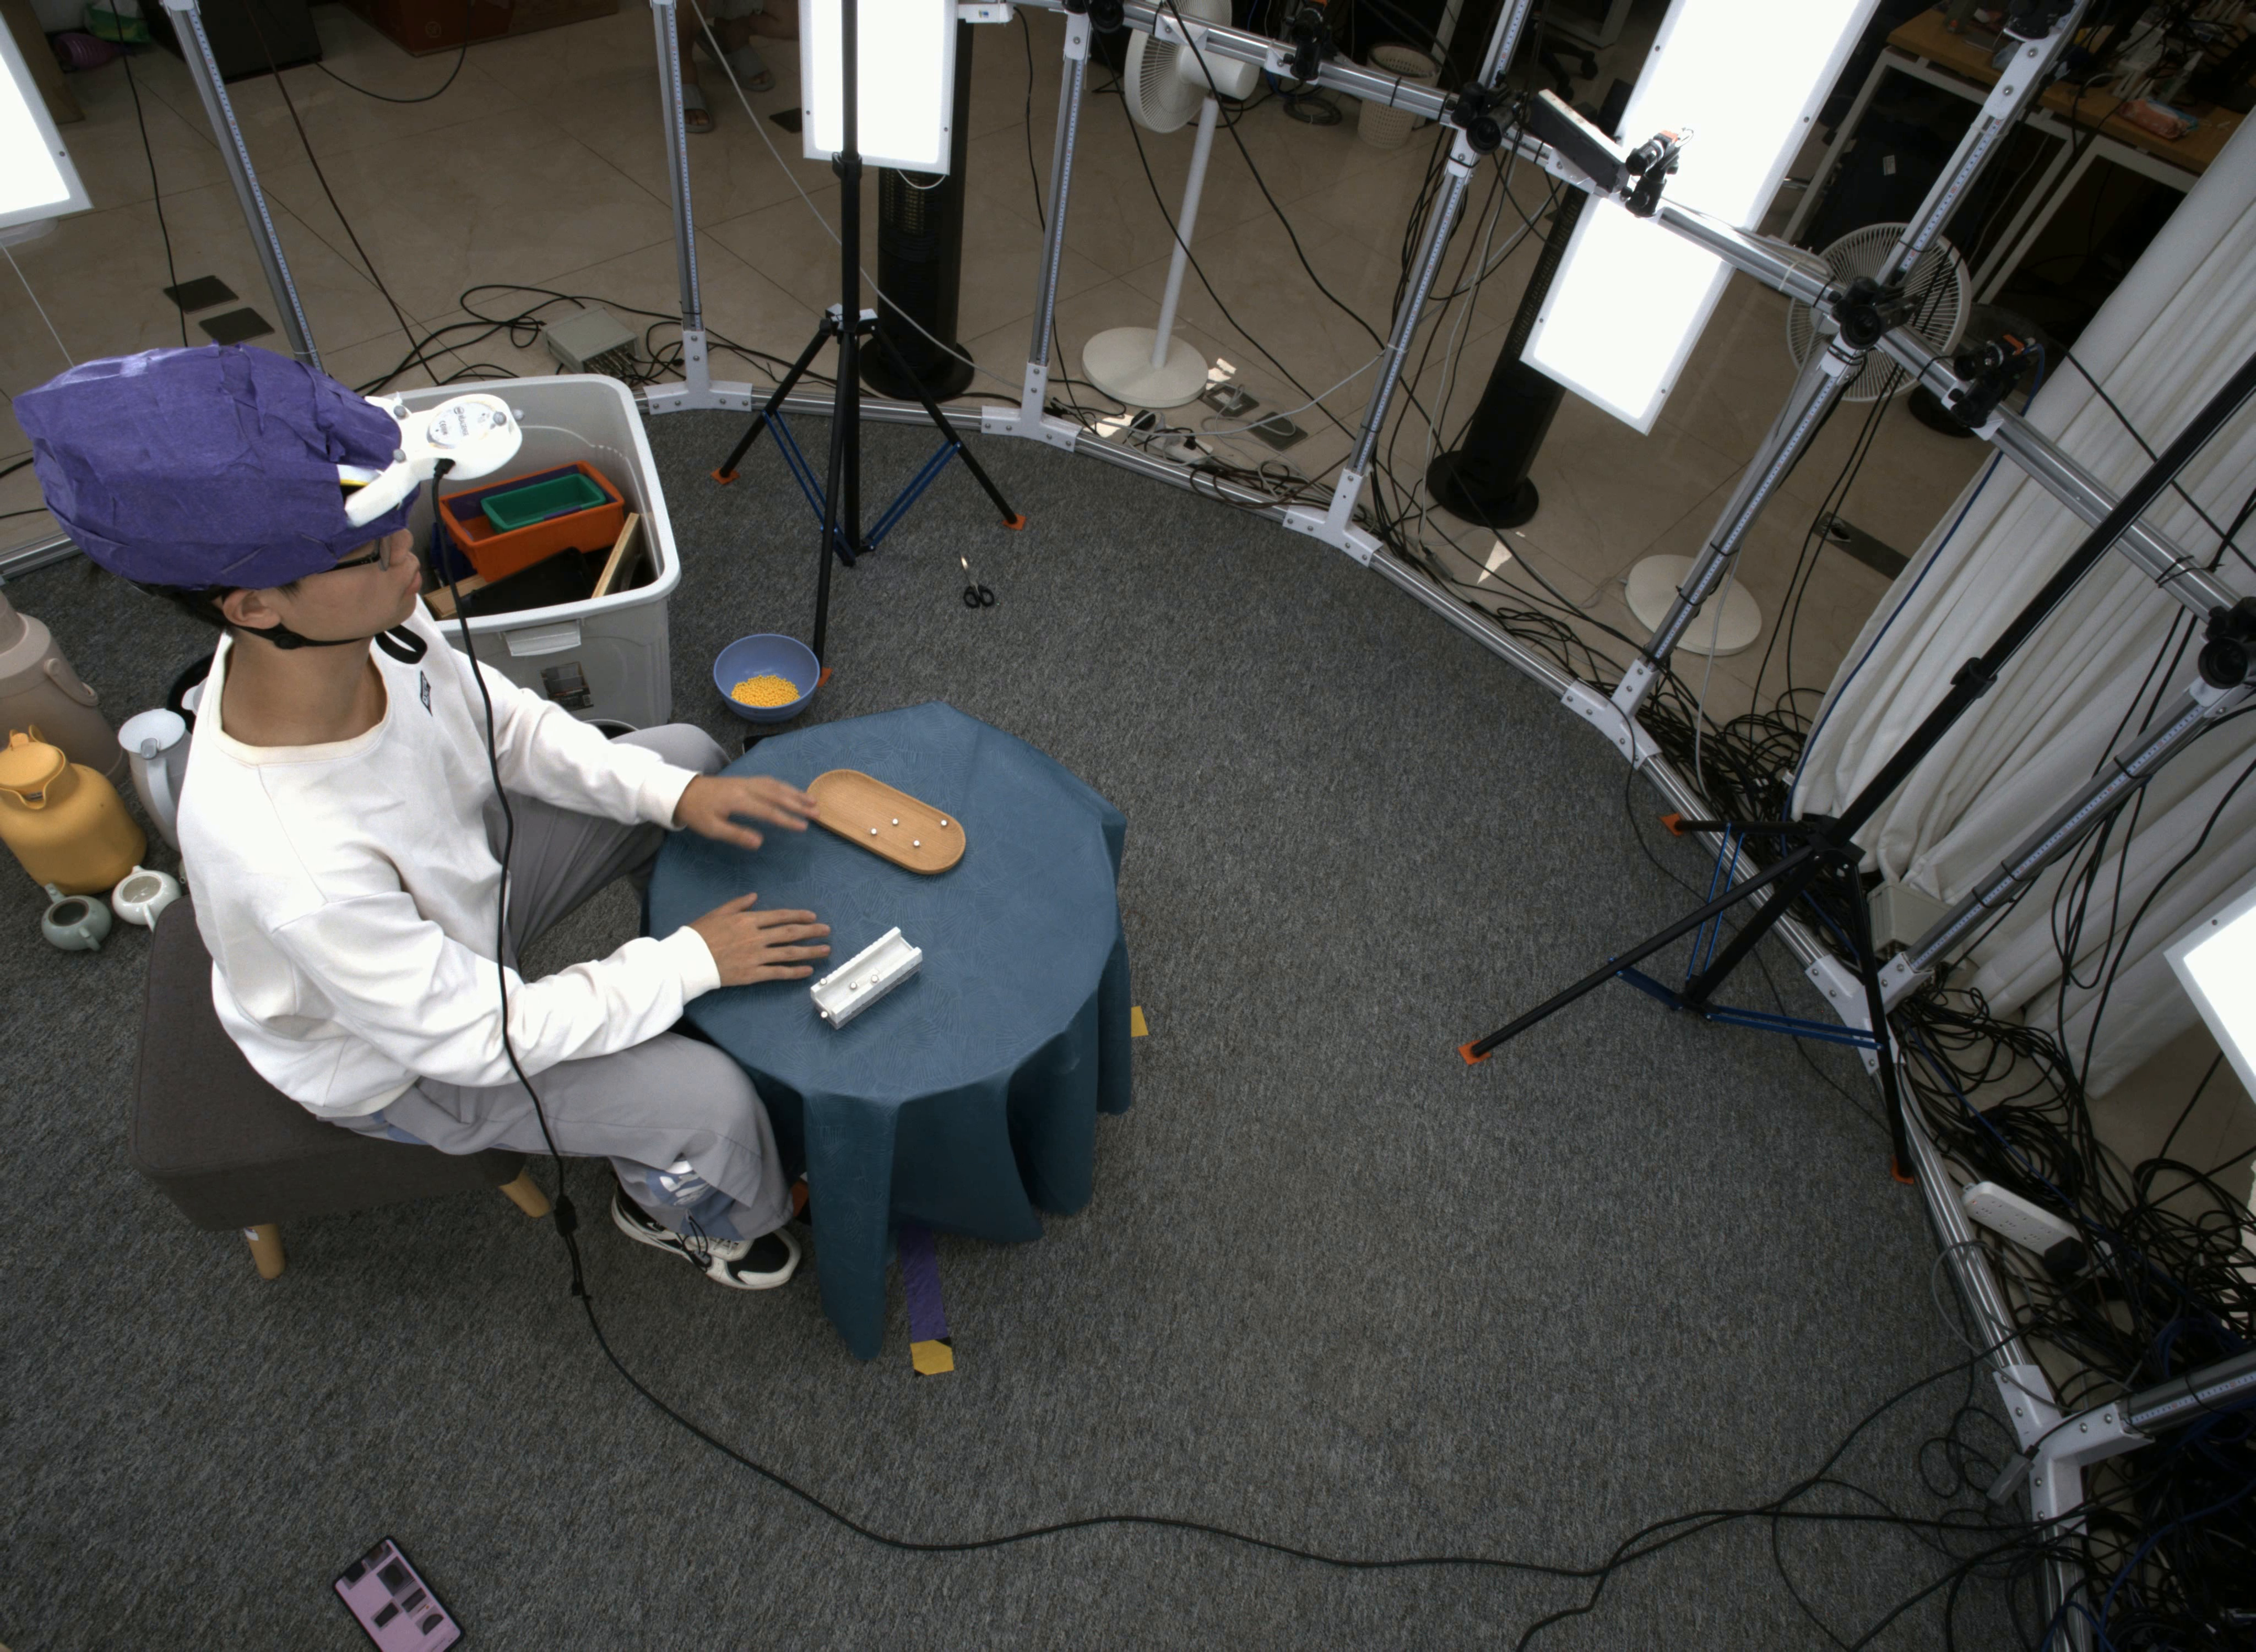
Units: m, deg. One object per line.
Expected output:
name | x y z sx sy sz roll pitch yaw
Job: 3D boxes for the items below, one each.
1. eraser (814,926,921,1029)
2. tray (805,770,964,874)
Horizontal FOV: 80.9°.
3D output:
eraser | -0.318 0.184 1.593 0.048 0.048 0.134 34 54 21
tray | -0.328 -0.006 1.752 0.227 0.021 0.101 24 52 7
